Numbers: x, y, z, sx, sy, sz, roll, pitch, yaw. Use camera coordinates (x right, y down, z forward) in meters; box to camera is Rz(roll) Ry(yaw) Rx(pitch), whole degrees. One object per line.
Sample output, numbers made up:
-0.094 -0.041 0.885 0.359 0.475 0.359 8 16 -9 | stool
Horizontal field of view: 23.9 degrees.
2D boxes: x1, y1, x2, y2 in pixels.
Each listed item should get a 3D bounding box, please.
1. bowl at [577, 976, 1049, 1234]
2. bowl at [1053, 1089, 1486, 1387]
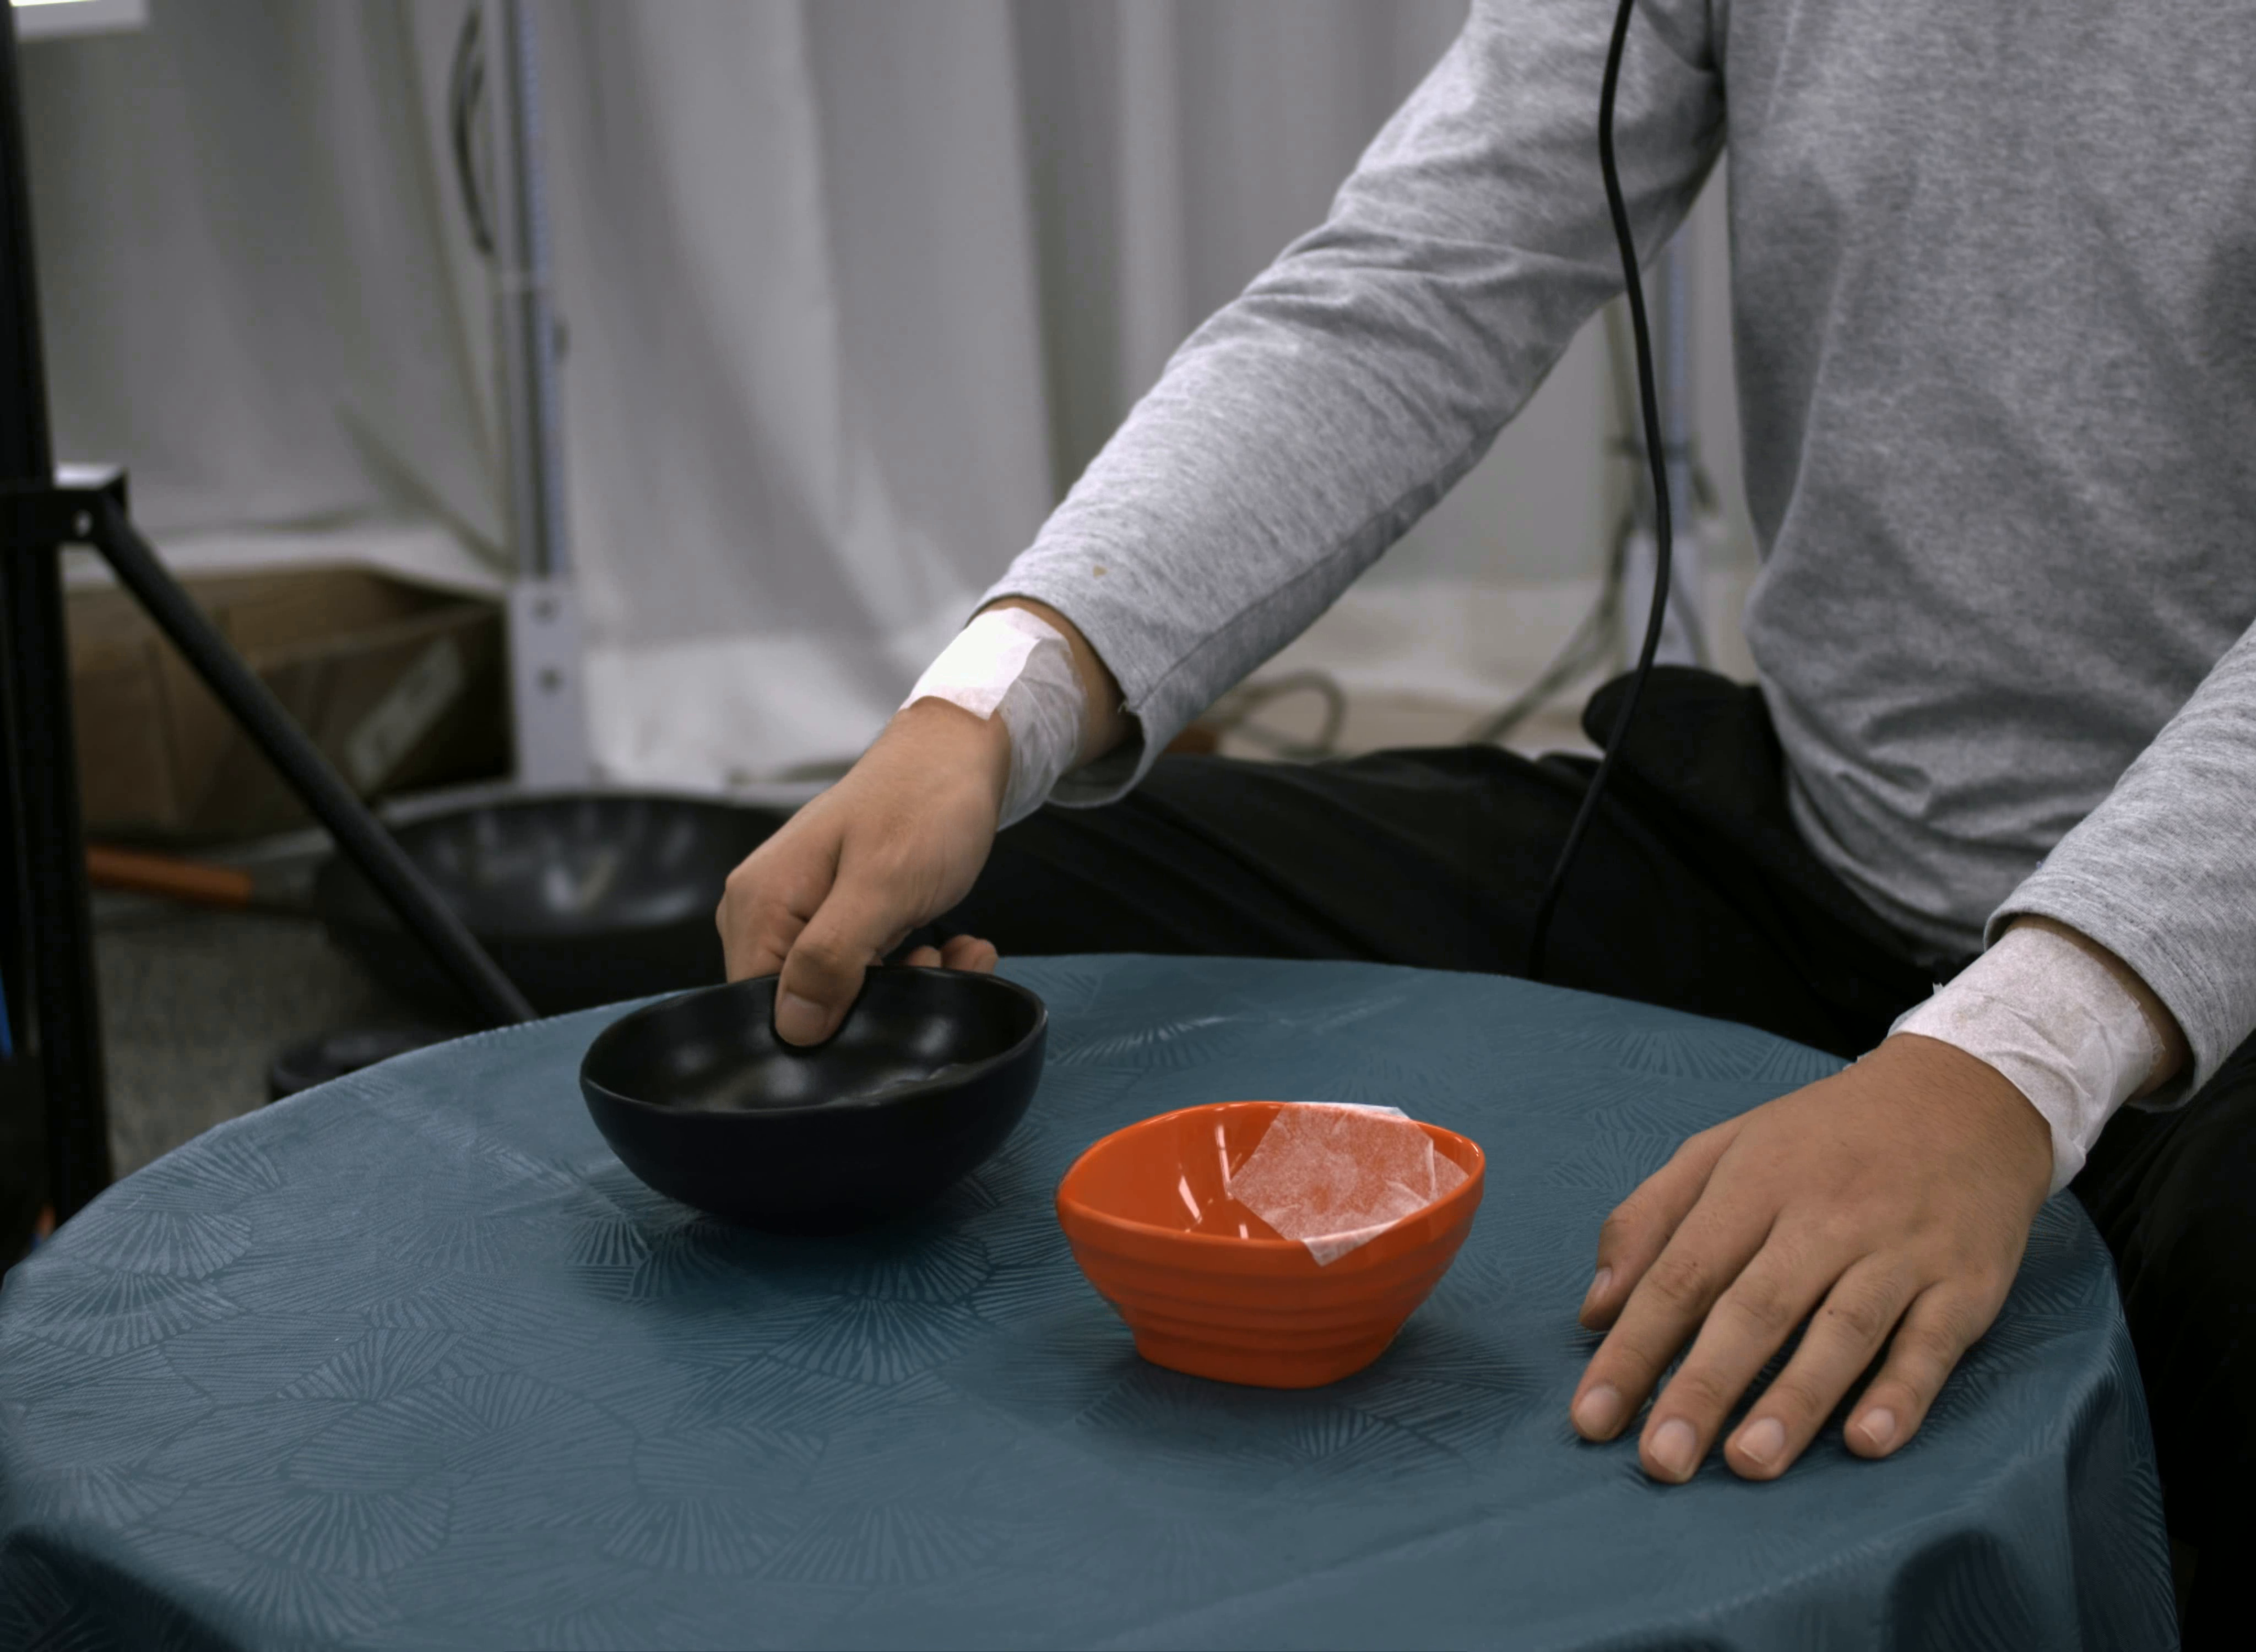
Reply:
-0.090 0.086 1.556 0.139 0.050 0.140 -4 13 0 | bowl
0.040 0.114 1.434 0.118 0.051 0.119 -5 17 0 | bowl
